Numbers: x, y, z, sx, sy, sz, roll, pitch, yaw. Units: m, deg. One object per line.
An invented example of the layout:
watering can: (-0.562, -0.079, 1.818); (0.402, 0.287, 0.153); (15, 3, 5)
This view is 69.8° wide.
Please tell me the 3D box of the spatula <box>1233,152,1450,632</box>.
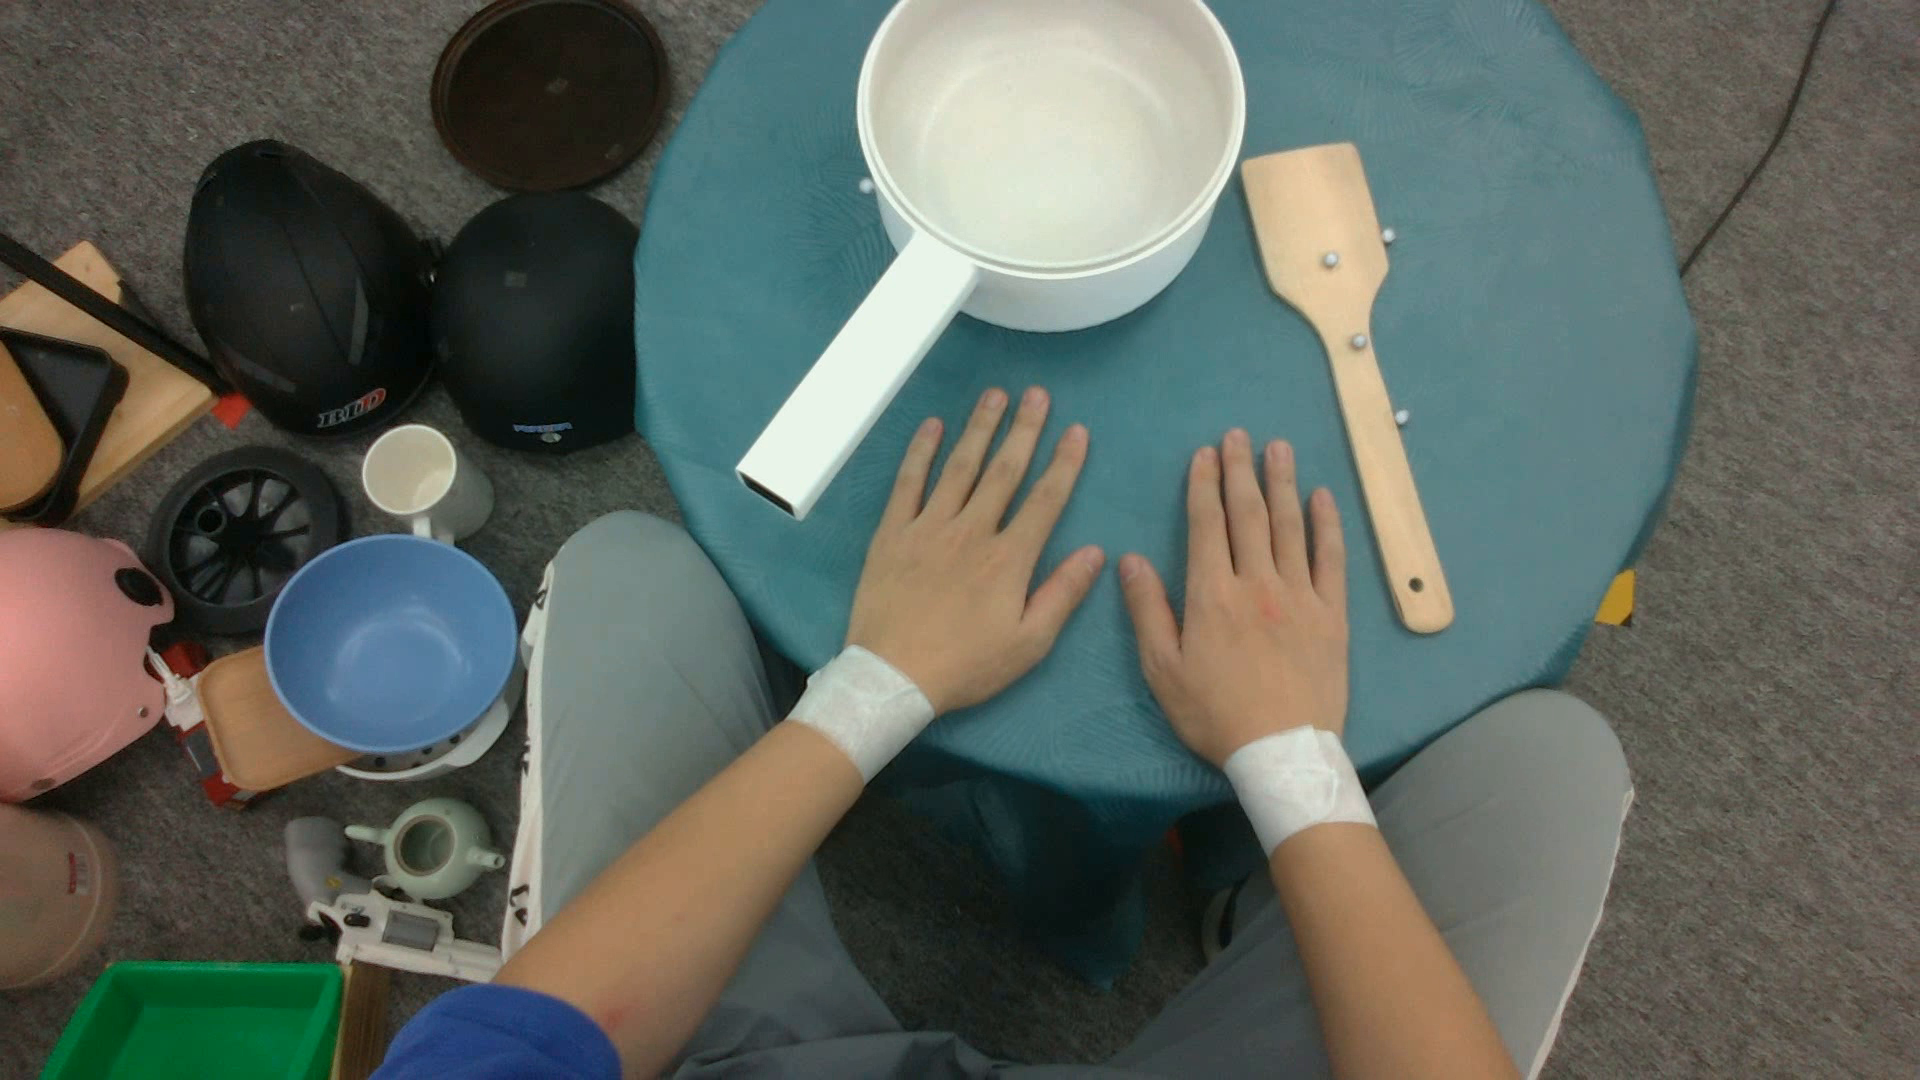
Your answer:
spatula: (0.223, -0.089, 0.776); (0.072, 0.010, 0.293); (-11, 73, -3)

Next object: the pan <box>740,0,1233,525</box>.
pan: (0.004, -0.152, 0.758); (0.201, 0.102, 0.355); (32, 76, 8)
